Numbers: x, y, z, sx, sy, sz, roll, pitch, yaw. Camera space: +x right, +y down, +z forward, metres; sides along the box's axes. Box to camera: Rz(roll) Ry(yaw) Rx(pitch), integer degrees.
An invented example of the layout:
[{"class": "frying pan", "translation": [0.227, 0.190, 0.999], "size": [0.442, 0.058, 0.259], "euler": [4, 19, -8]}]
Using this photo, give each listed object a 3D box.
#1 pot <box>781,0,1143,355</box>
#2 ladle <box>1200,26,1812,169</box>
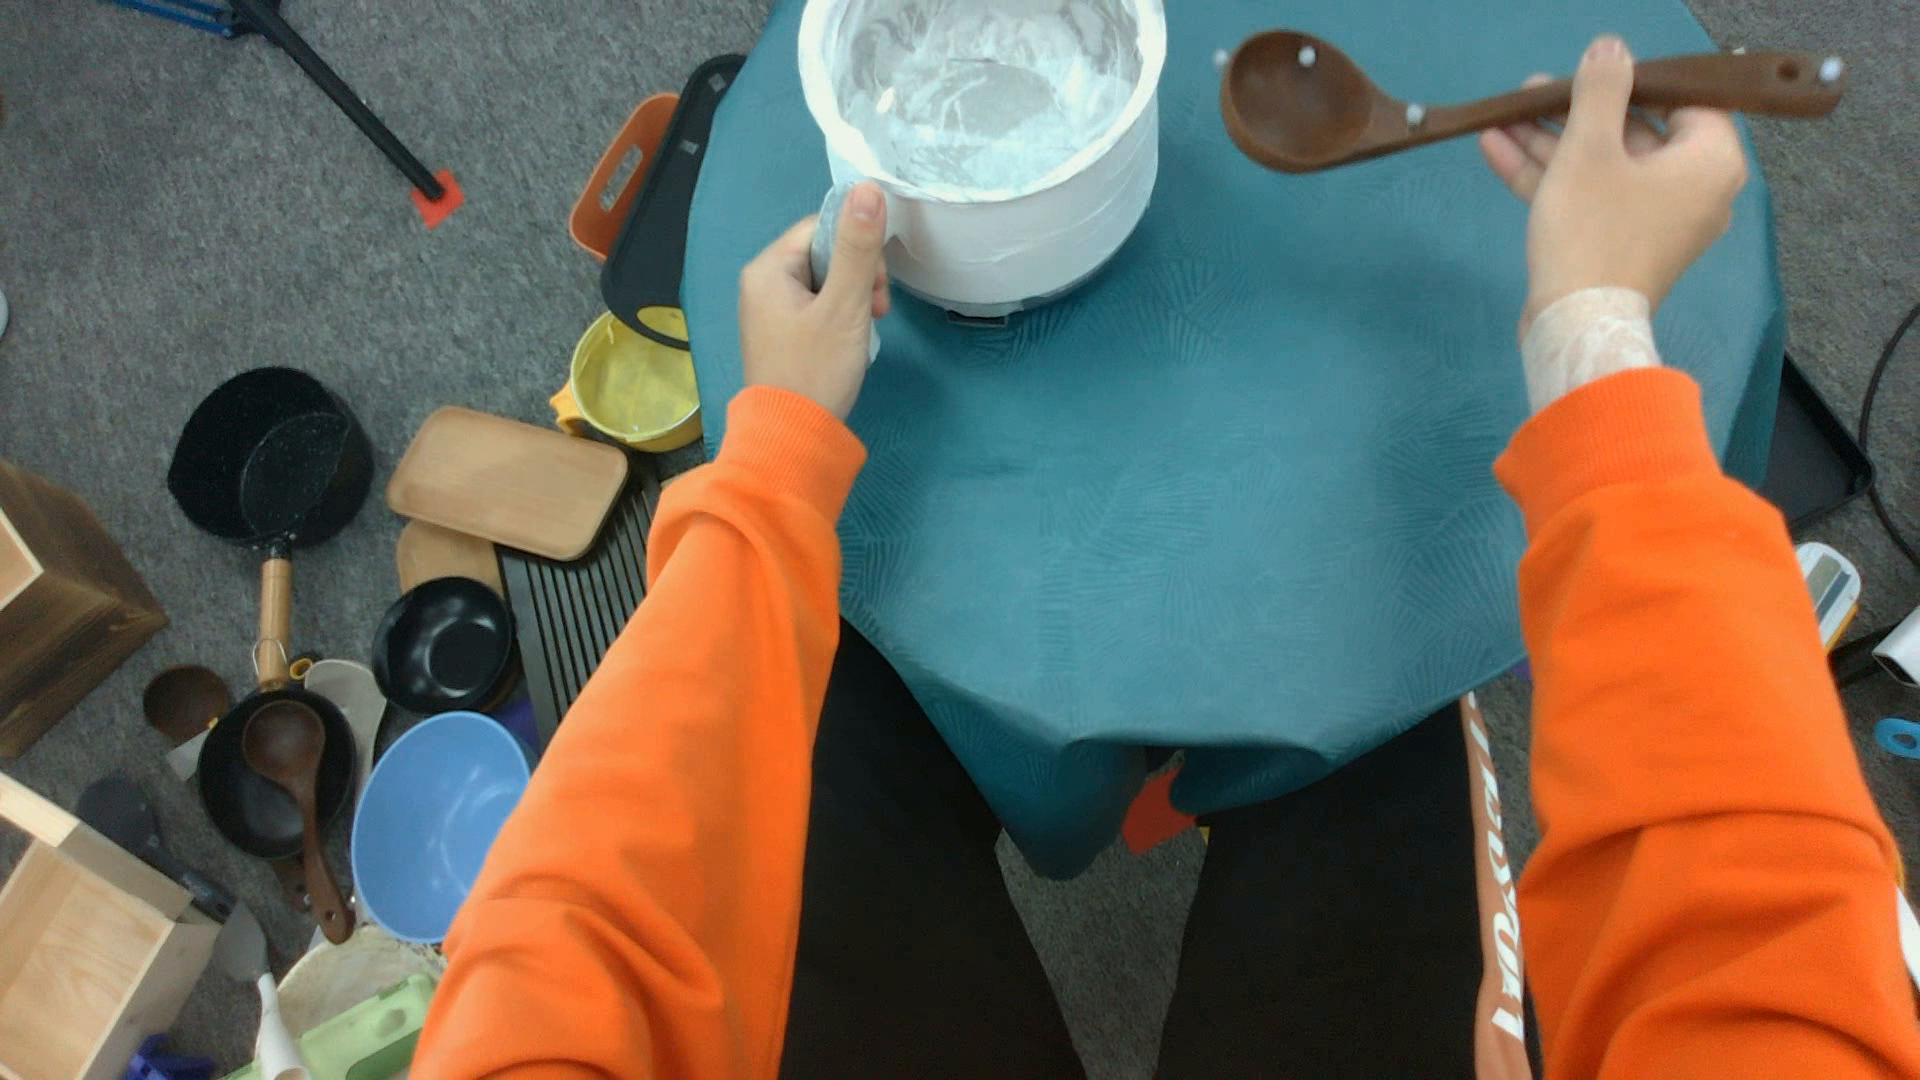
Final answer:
[{"class": "pot", "translation": [-0.010, -0.206, 0.719], "size": [0.179, 0.136, 0.234], "euler": [33, 78, 15]}, {"class": "ladle", "translation": [0.235, -0.208, 0.626], "size": [0.259, 0.065, 0.077], "euler": [6, 68, 34]}]
